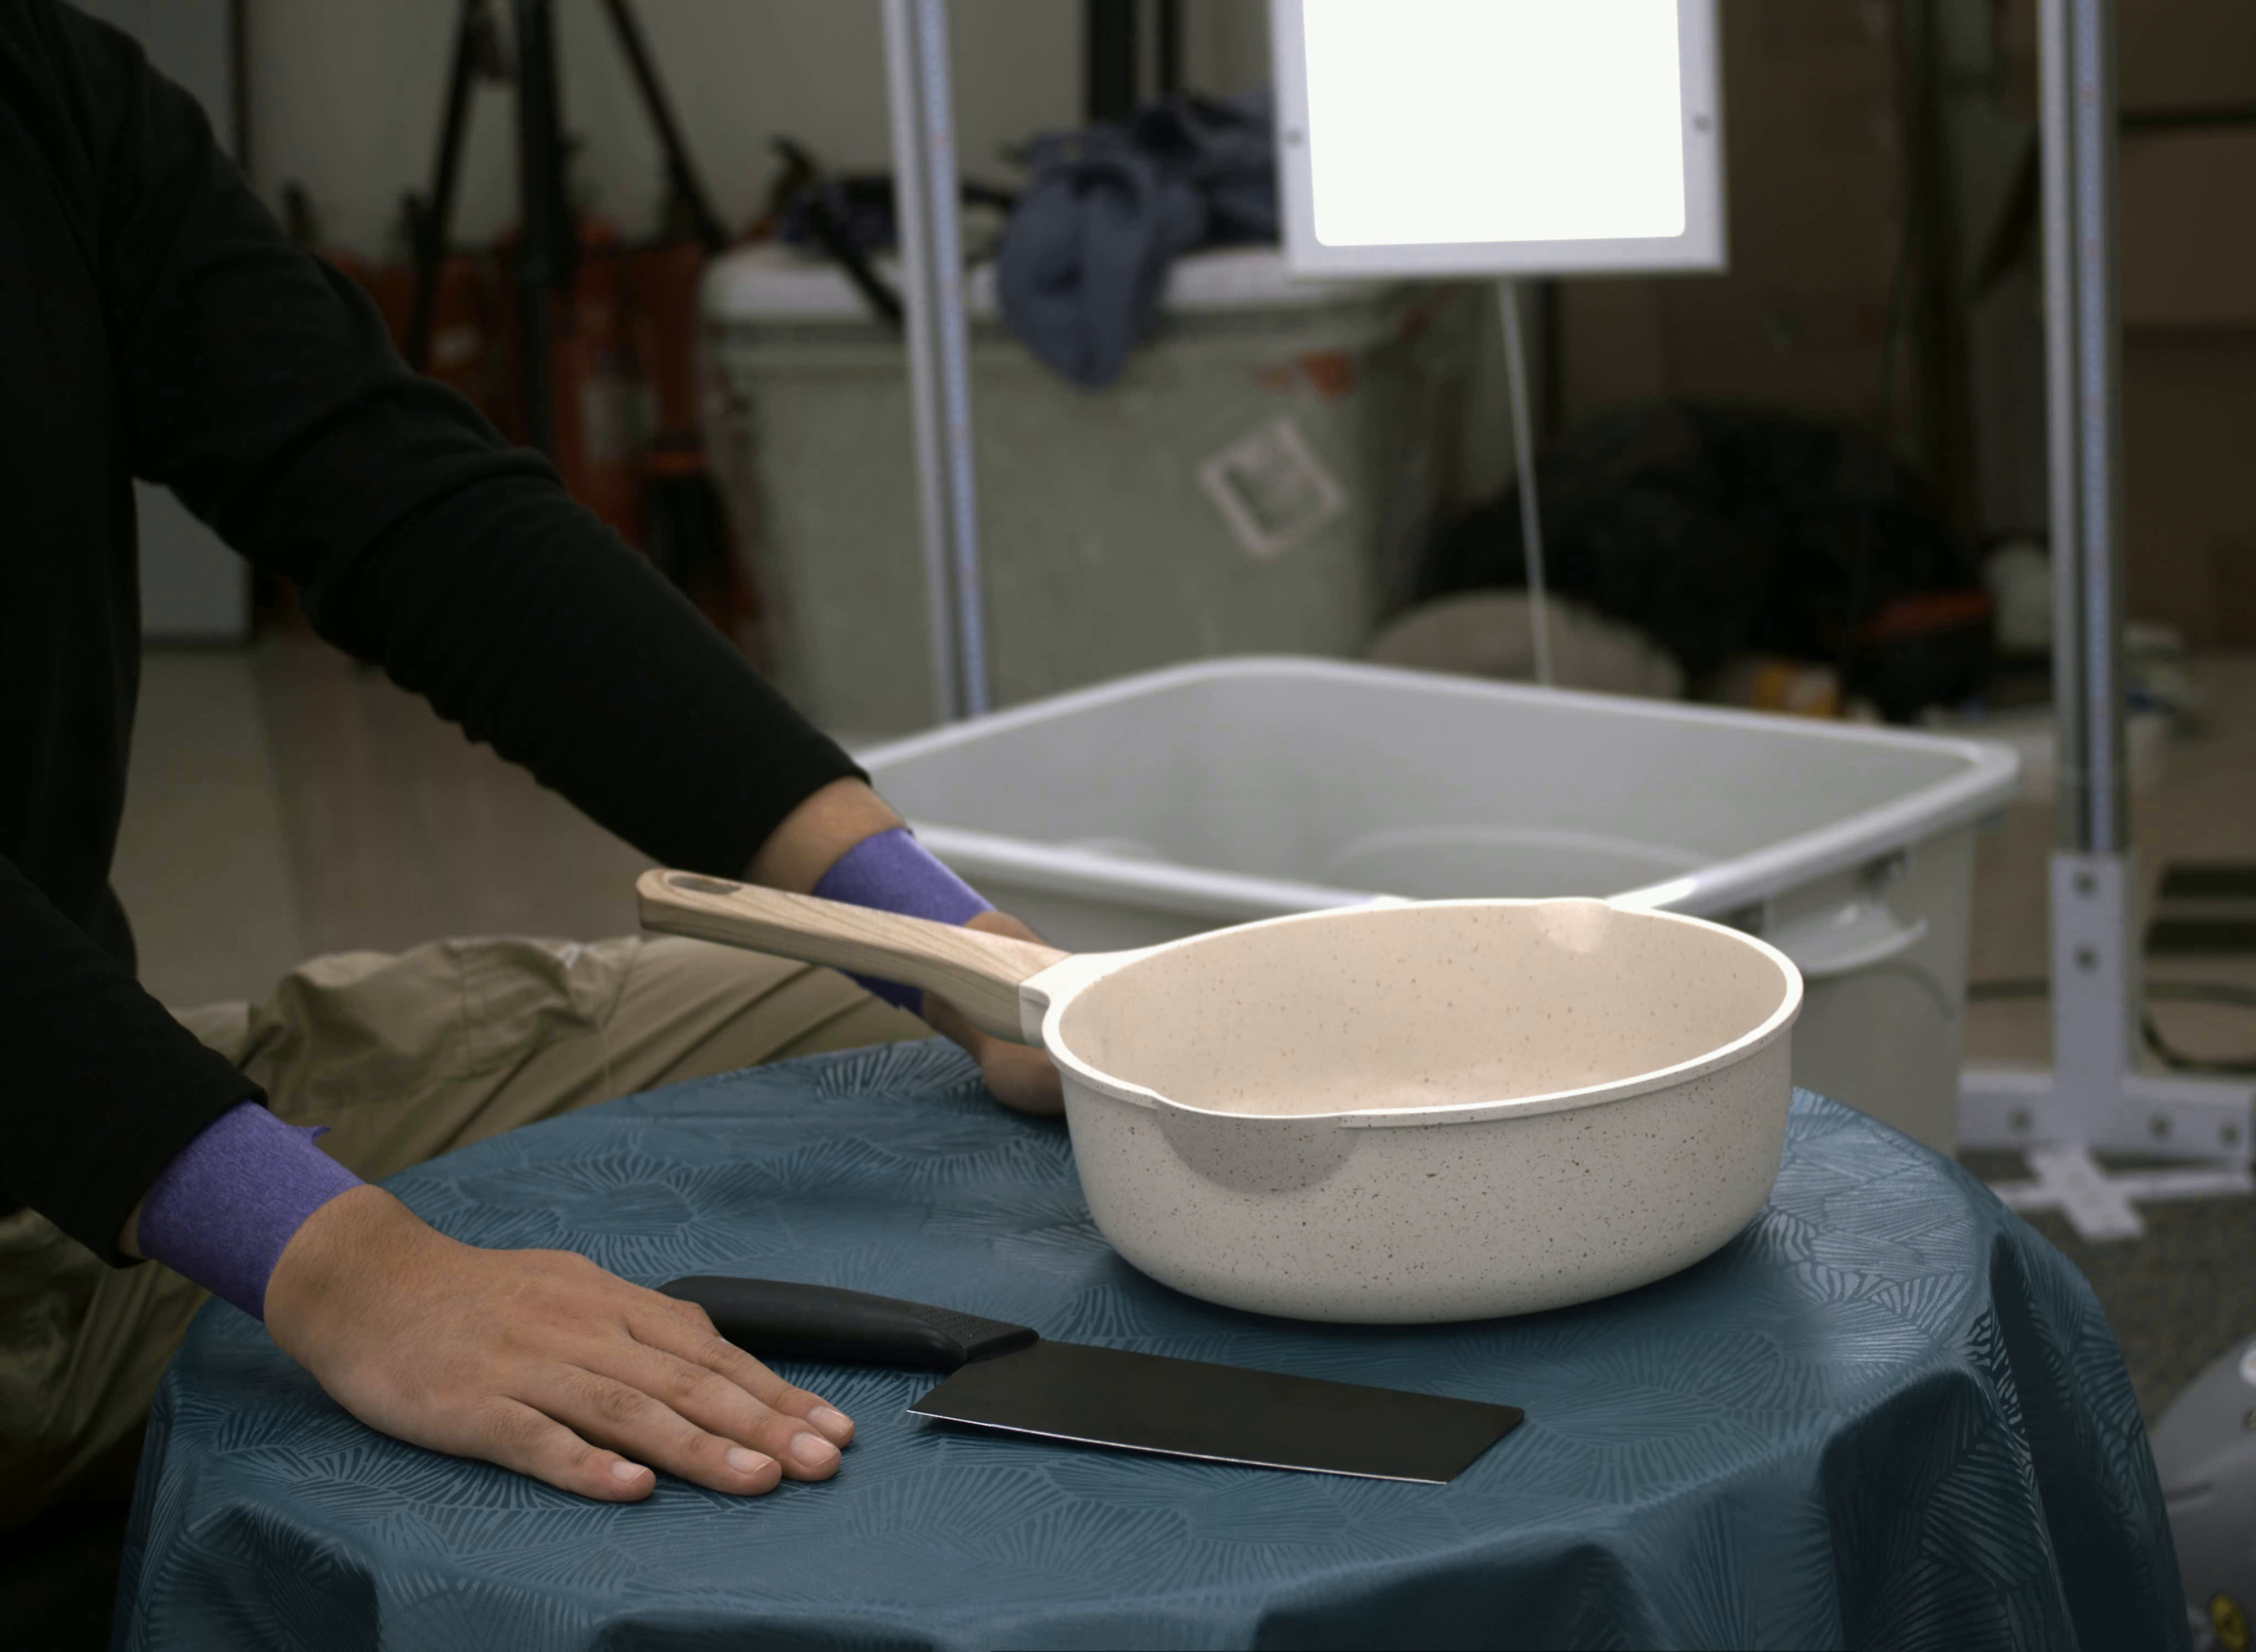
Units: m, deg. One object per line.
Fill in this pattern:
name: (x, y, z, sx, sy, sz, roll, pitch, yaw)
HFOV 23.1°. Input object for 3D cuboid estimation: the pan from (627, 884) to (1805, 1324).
pan: (0.020, 0.082, 1.866, 0.443, 0.102, 0.257, 3, 18, 31)

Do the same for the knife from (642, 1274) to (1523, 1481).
knife: (-0.023, 0.171, 1.700, 0.308, 0.021, 0.079, 7, 19, 34)
